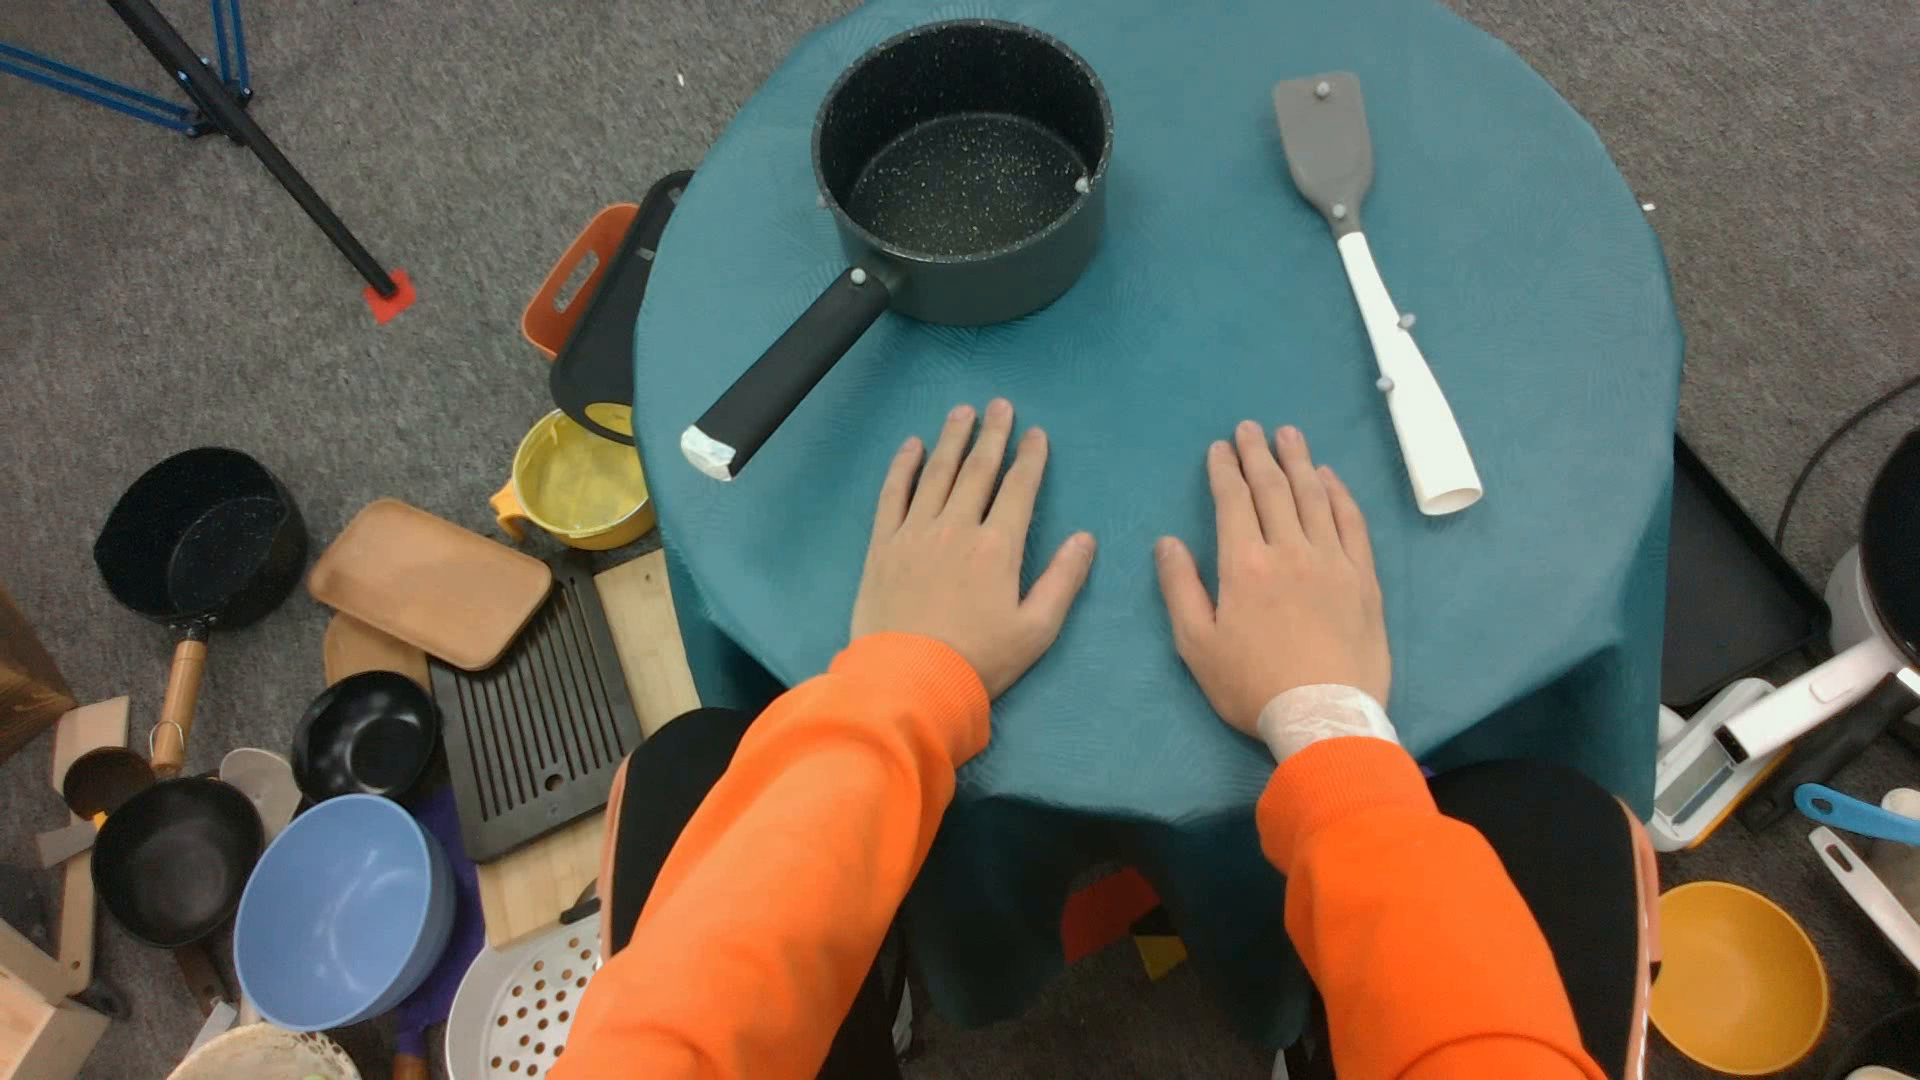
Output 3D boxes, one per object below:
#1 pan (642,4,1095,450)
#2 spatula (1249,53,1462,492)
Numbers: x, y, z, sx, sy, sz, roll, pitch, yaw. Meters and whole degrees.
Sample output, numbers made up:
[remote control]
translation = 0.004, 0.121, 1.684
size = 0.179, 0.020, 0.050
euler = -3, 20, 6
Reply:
[pan]
translation = -0.052, -0.162, 0.779
size = 0.172, 0.086, 0.330
euler = 31, 70, 18
[spatula]
translation = 0.224, -0.161, 0.784
size = 0.058, 0.032, 0.288
euler = -12, 66, 3
